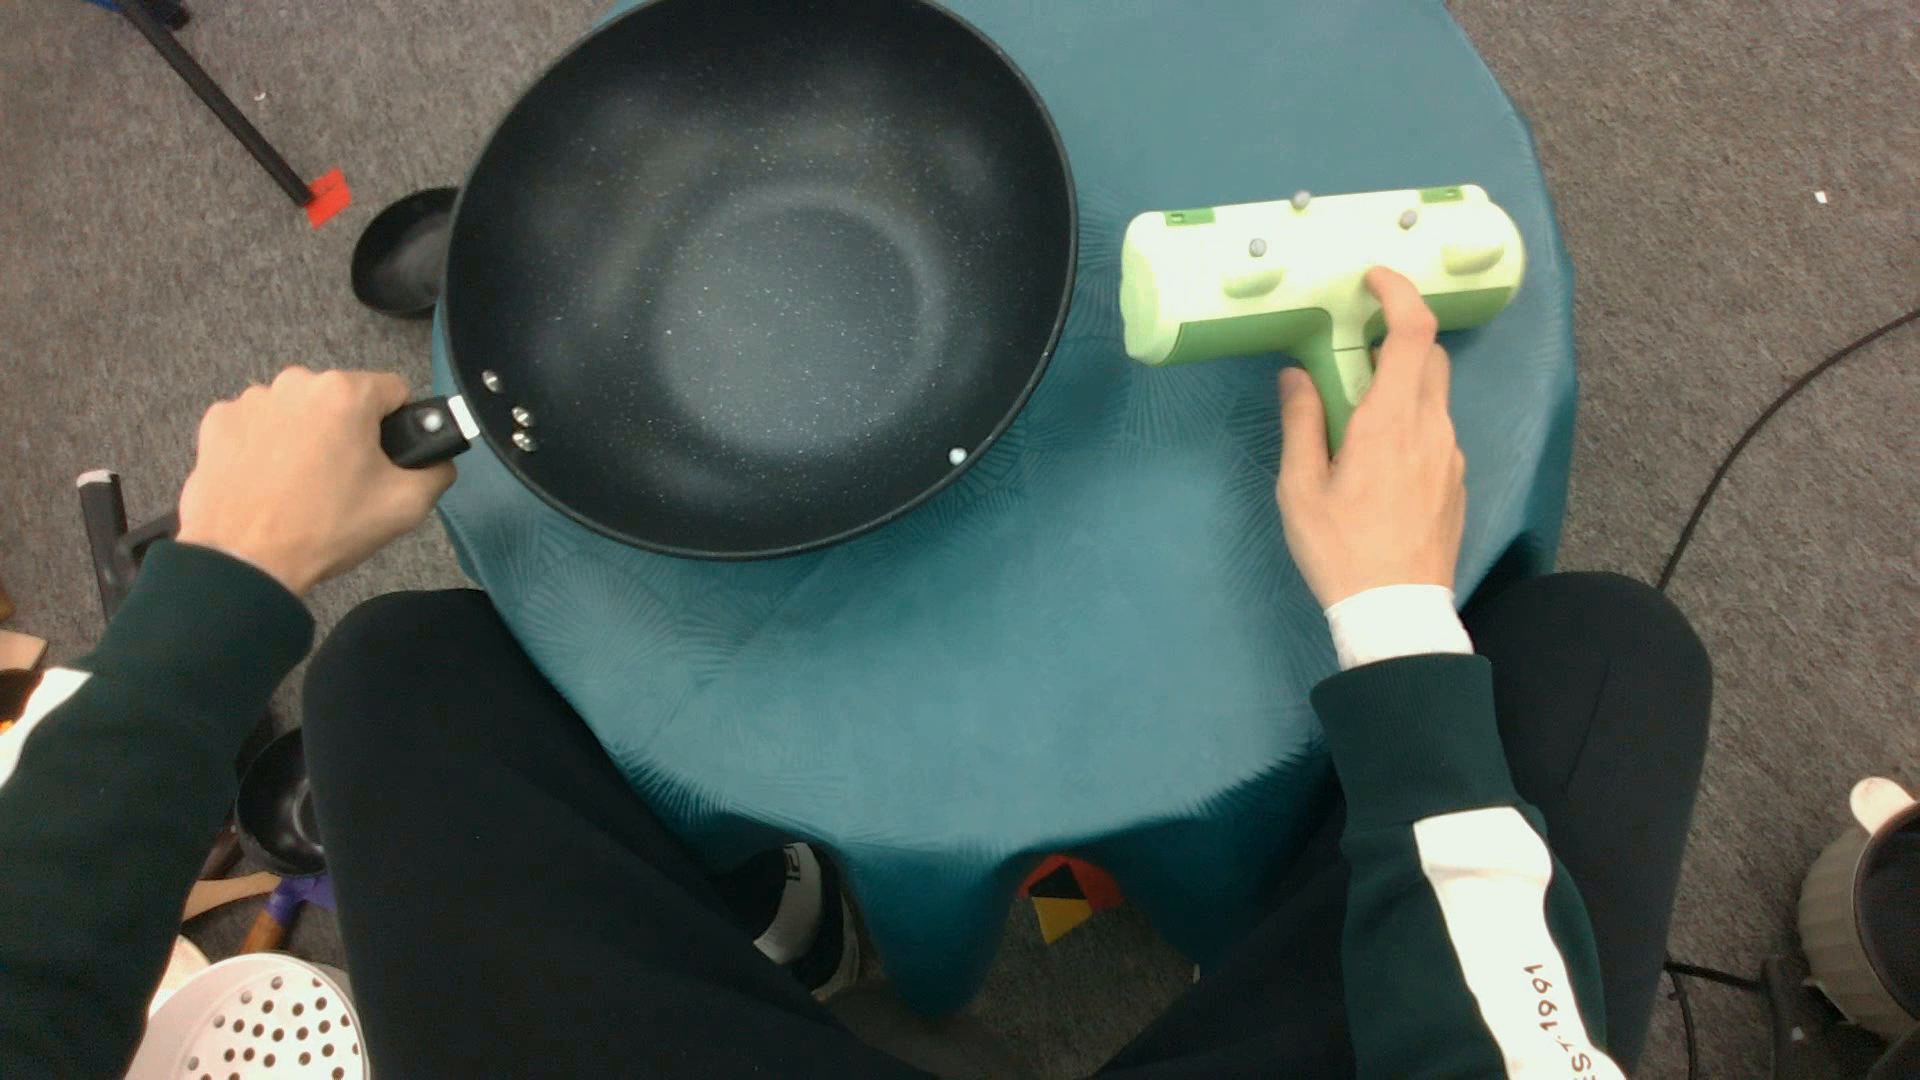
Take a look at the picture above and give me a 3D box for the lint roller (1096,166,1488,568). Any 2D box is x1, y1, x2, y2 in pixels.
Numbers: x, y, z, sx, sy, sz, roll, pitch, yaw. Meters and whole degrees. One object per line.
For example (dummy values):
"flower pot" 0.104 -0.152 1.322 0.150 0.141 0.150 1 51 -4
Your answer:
"lint roller" 0.174 -0.083 0.625 0.199 0.082 0.183 -10 75 -22

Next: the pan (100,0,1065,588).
"pan" -0.173 -0.096 0.678 0.477 0.111 0.310 -32 72 -5
